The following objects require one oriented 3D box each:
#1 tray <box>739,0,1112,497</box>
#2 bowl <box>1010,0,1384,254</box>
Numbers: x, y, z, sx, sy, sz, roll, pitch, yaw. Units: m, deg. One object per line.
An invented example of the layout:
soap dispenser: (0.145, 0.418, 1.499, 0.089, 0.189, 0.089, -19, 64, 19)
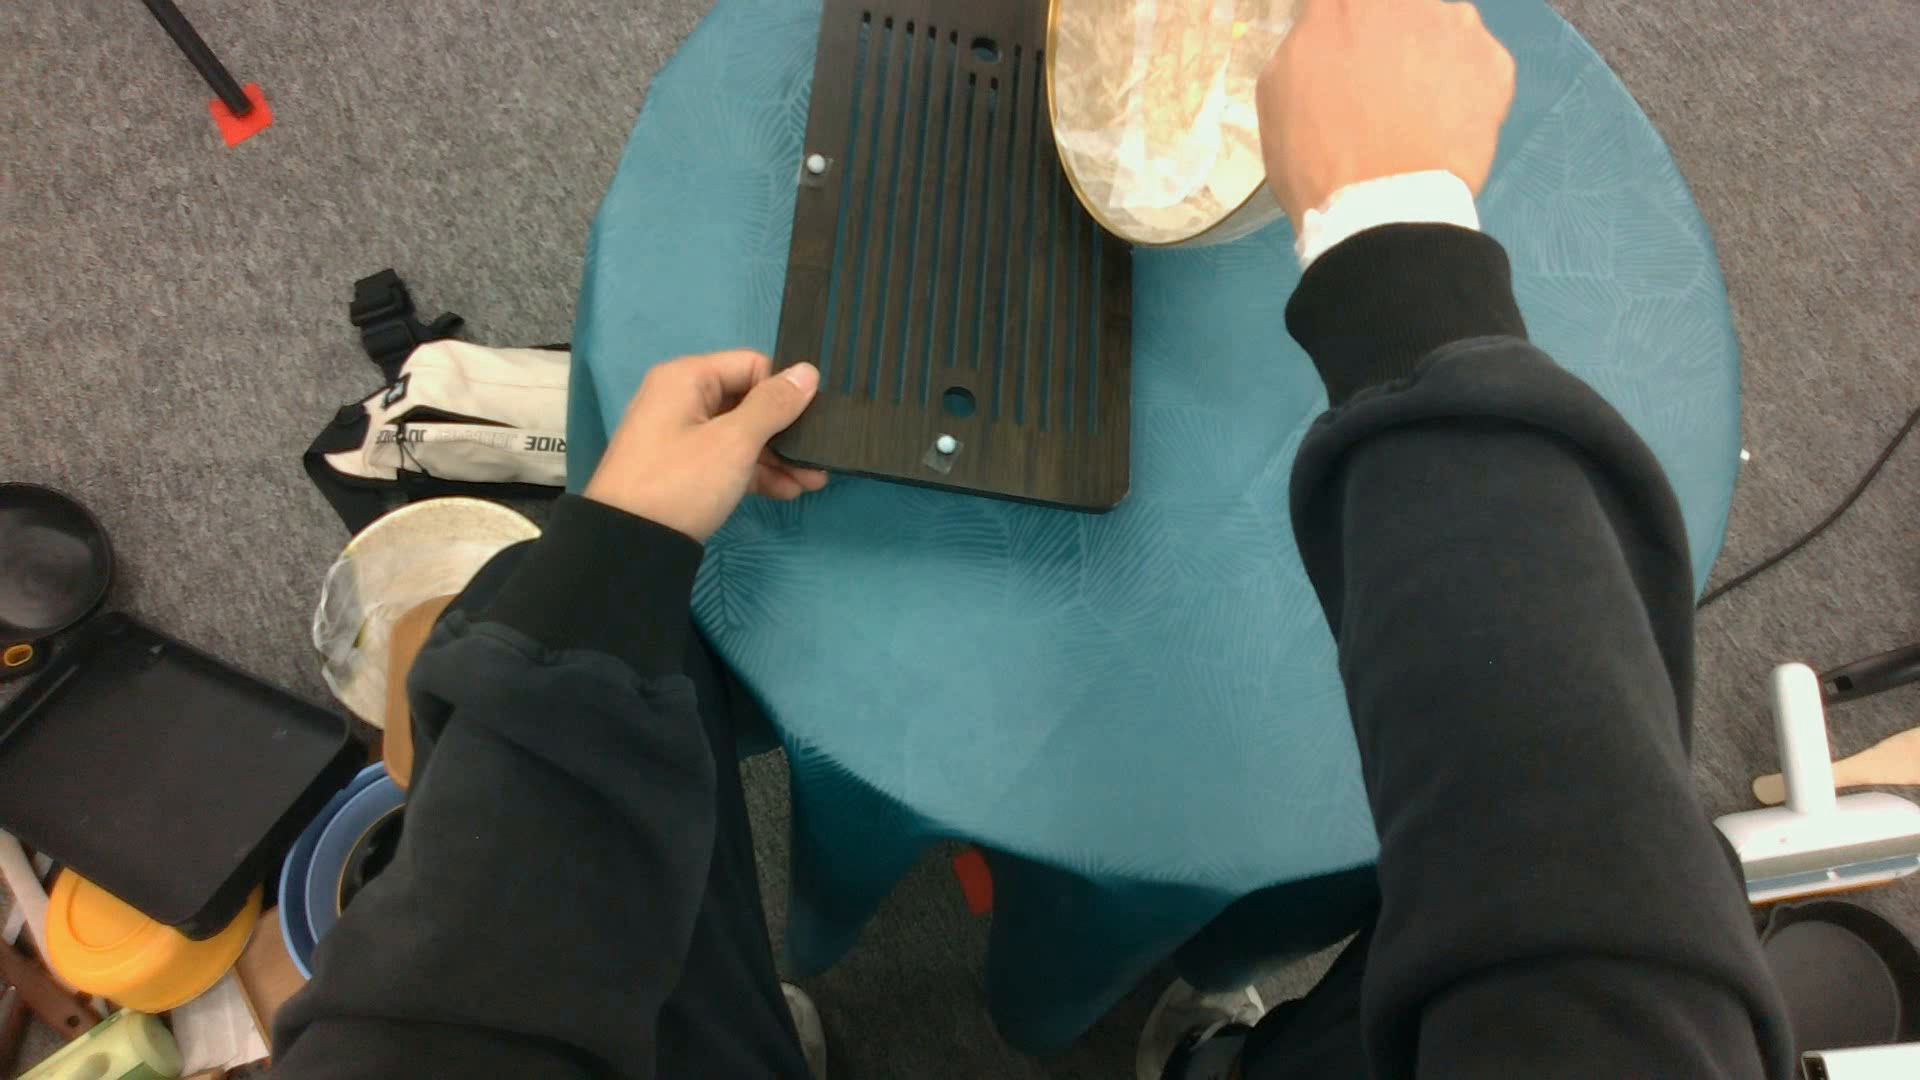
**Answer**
tray: (-0.008, -0.166, 0.684, 0.170, 0.018, 0.307, 9, 64, -10)
bowl: (0.121, -0.238, 0.639, 0.095, 0.213, 0.215, -4, 69, -33)
